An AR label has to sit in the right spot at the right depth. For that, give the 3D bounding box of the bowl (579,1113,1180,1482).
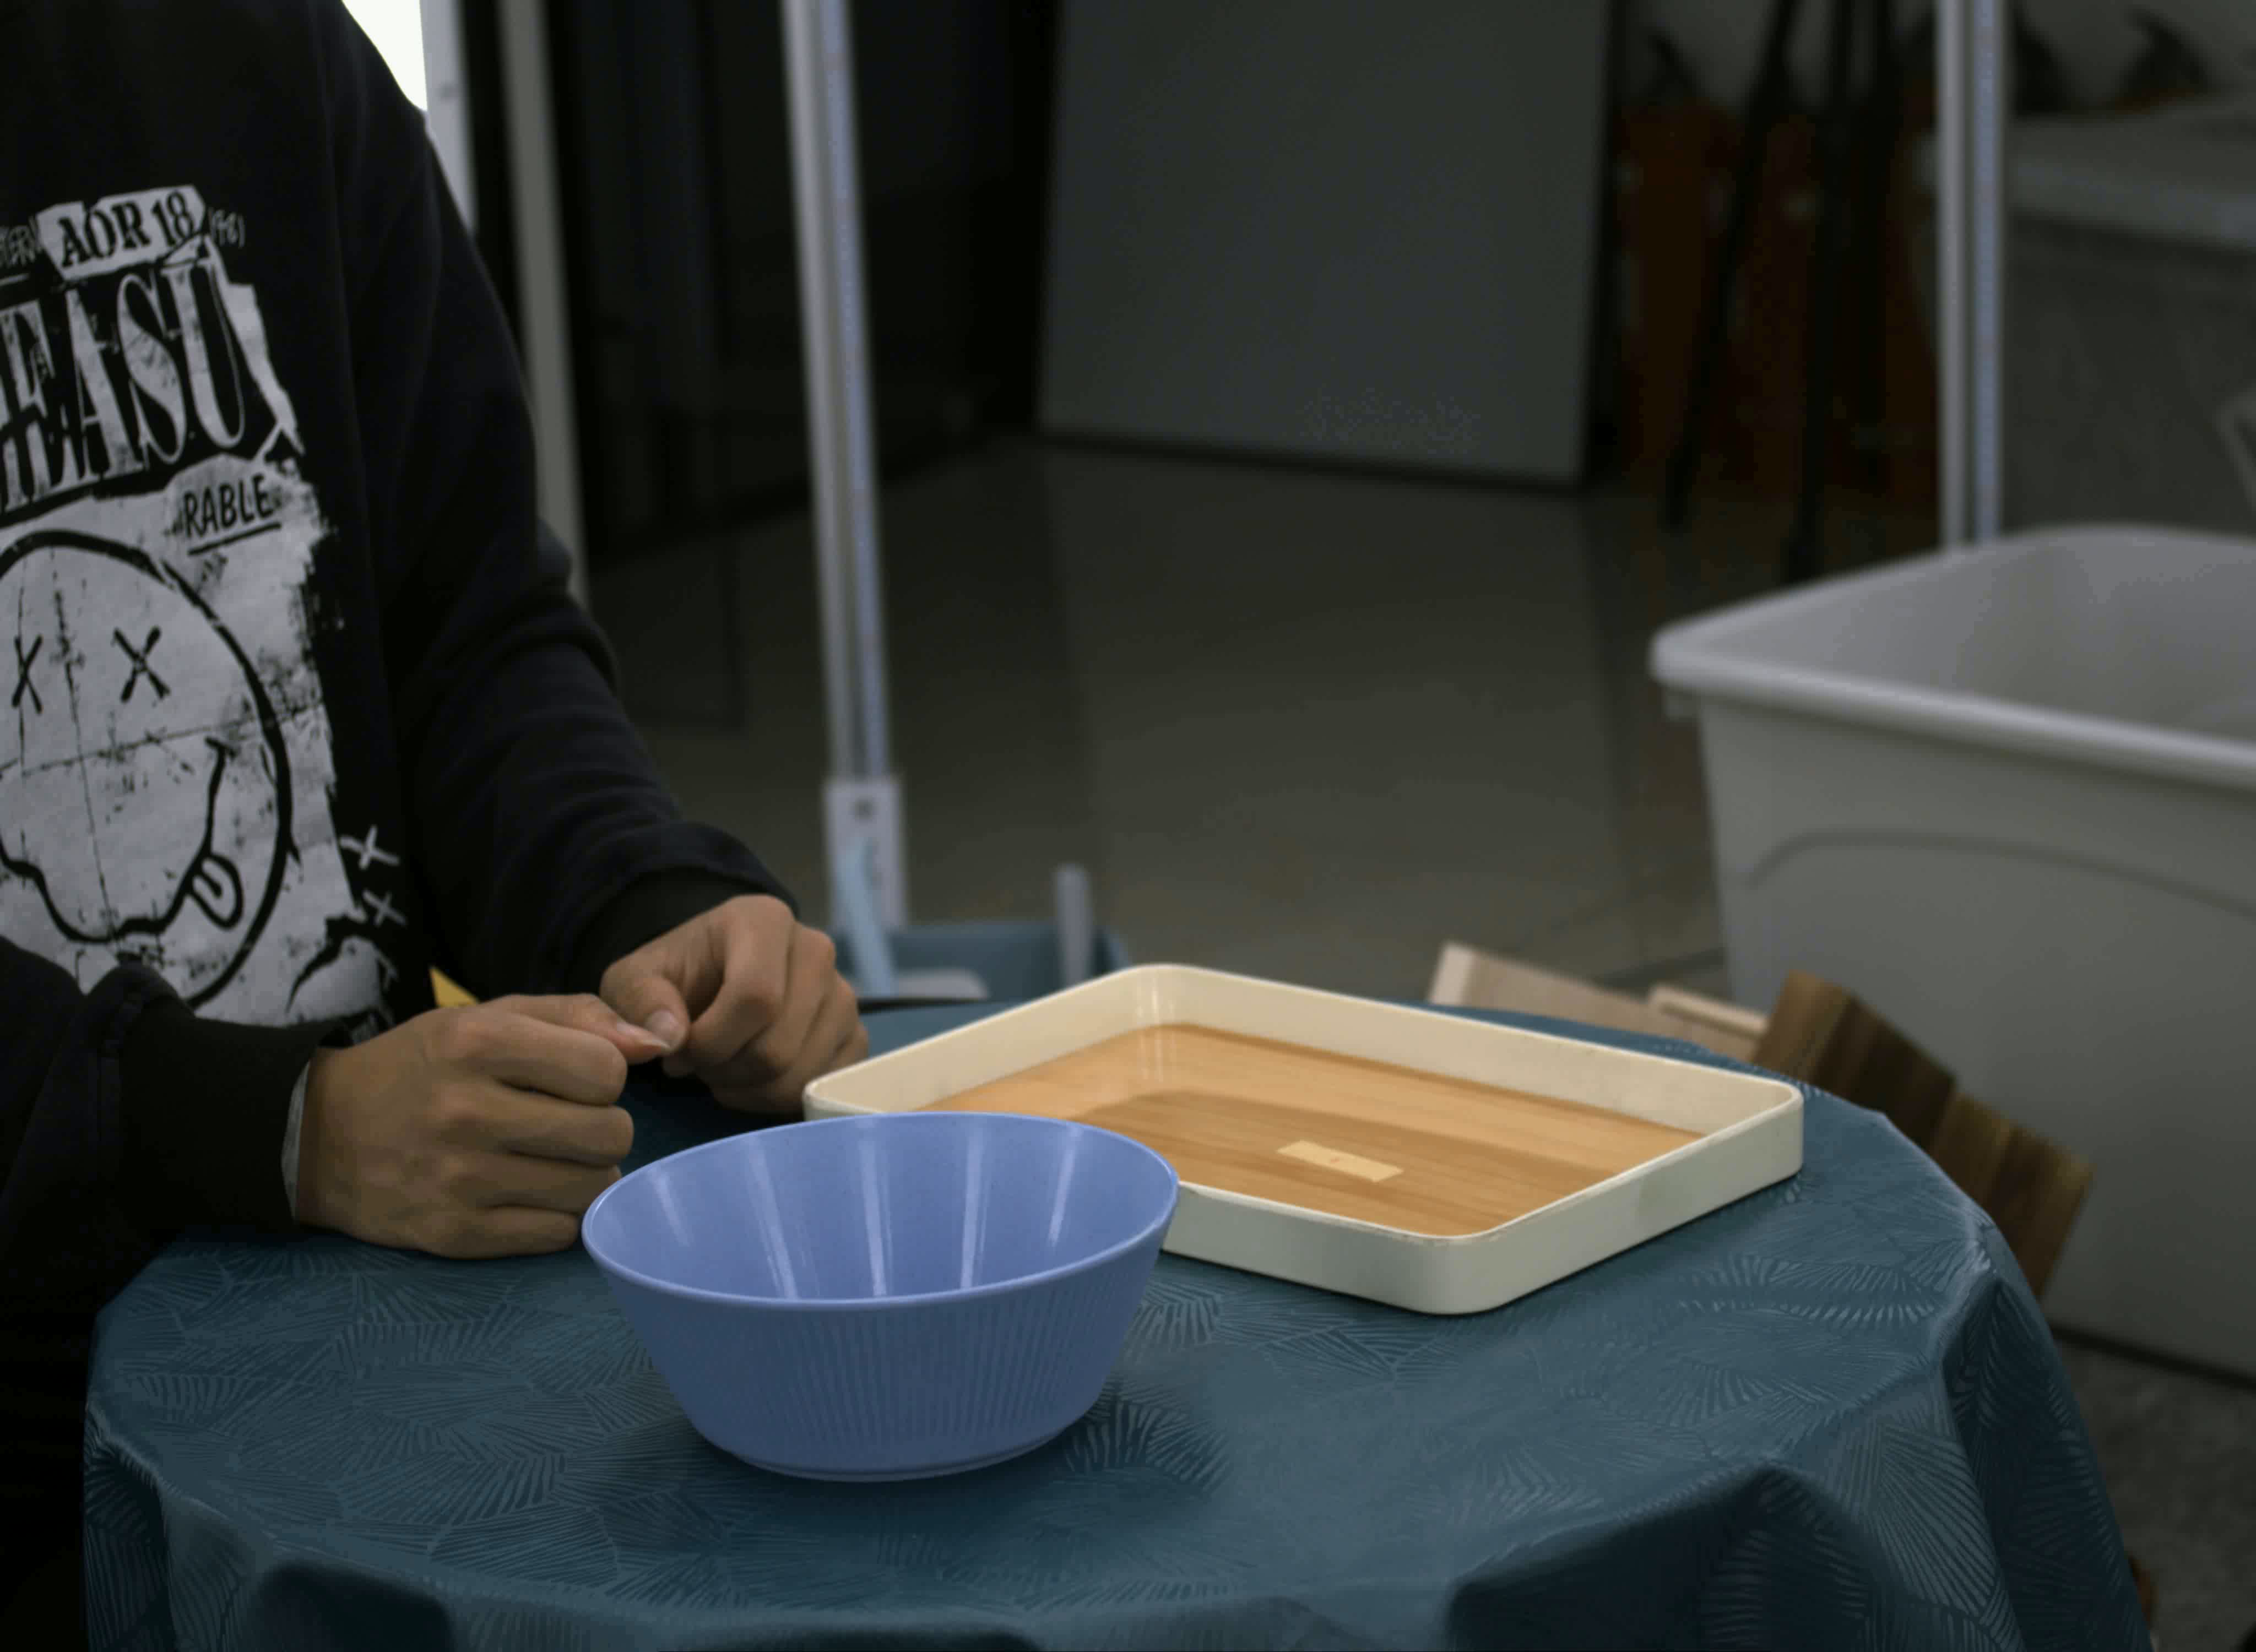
[{"bbox_3d":[-0.070,0.139,1.569,0.174,0.071,0.176,-3,14,0],"label":"bowl"}]

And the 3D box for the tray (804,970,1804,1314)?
[{"bbox_3d":[0.056,0.101,1.783,0.303,0.028,0.188,9,19,43],"label":"tray"}]
